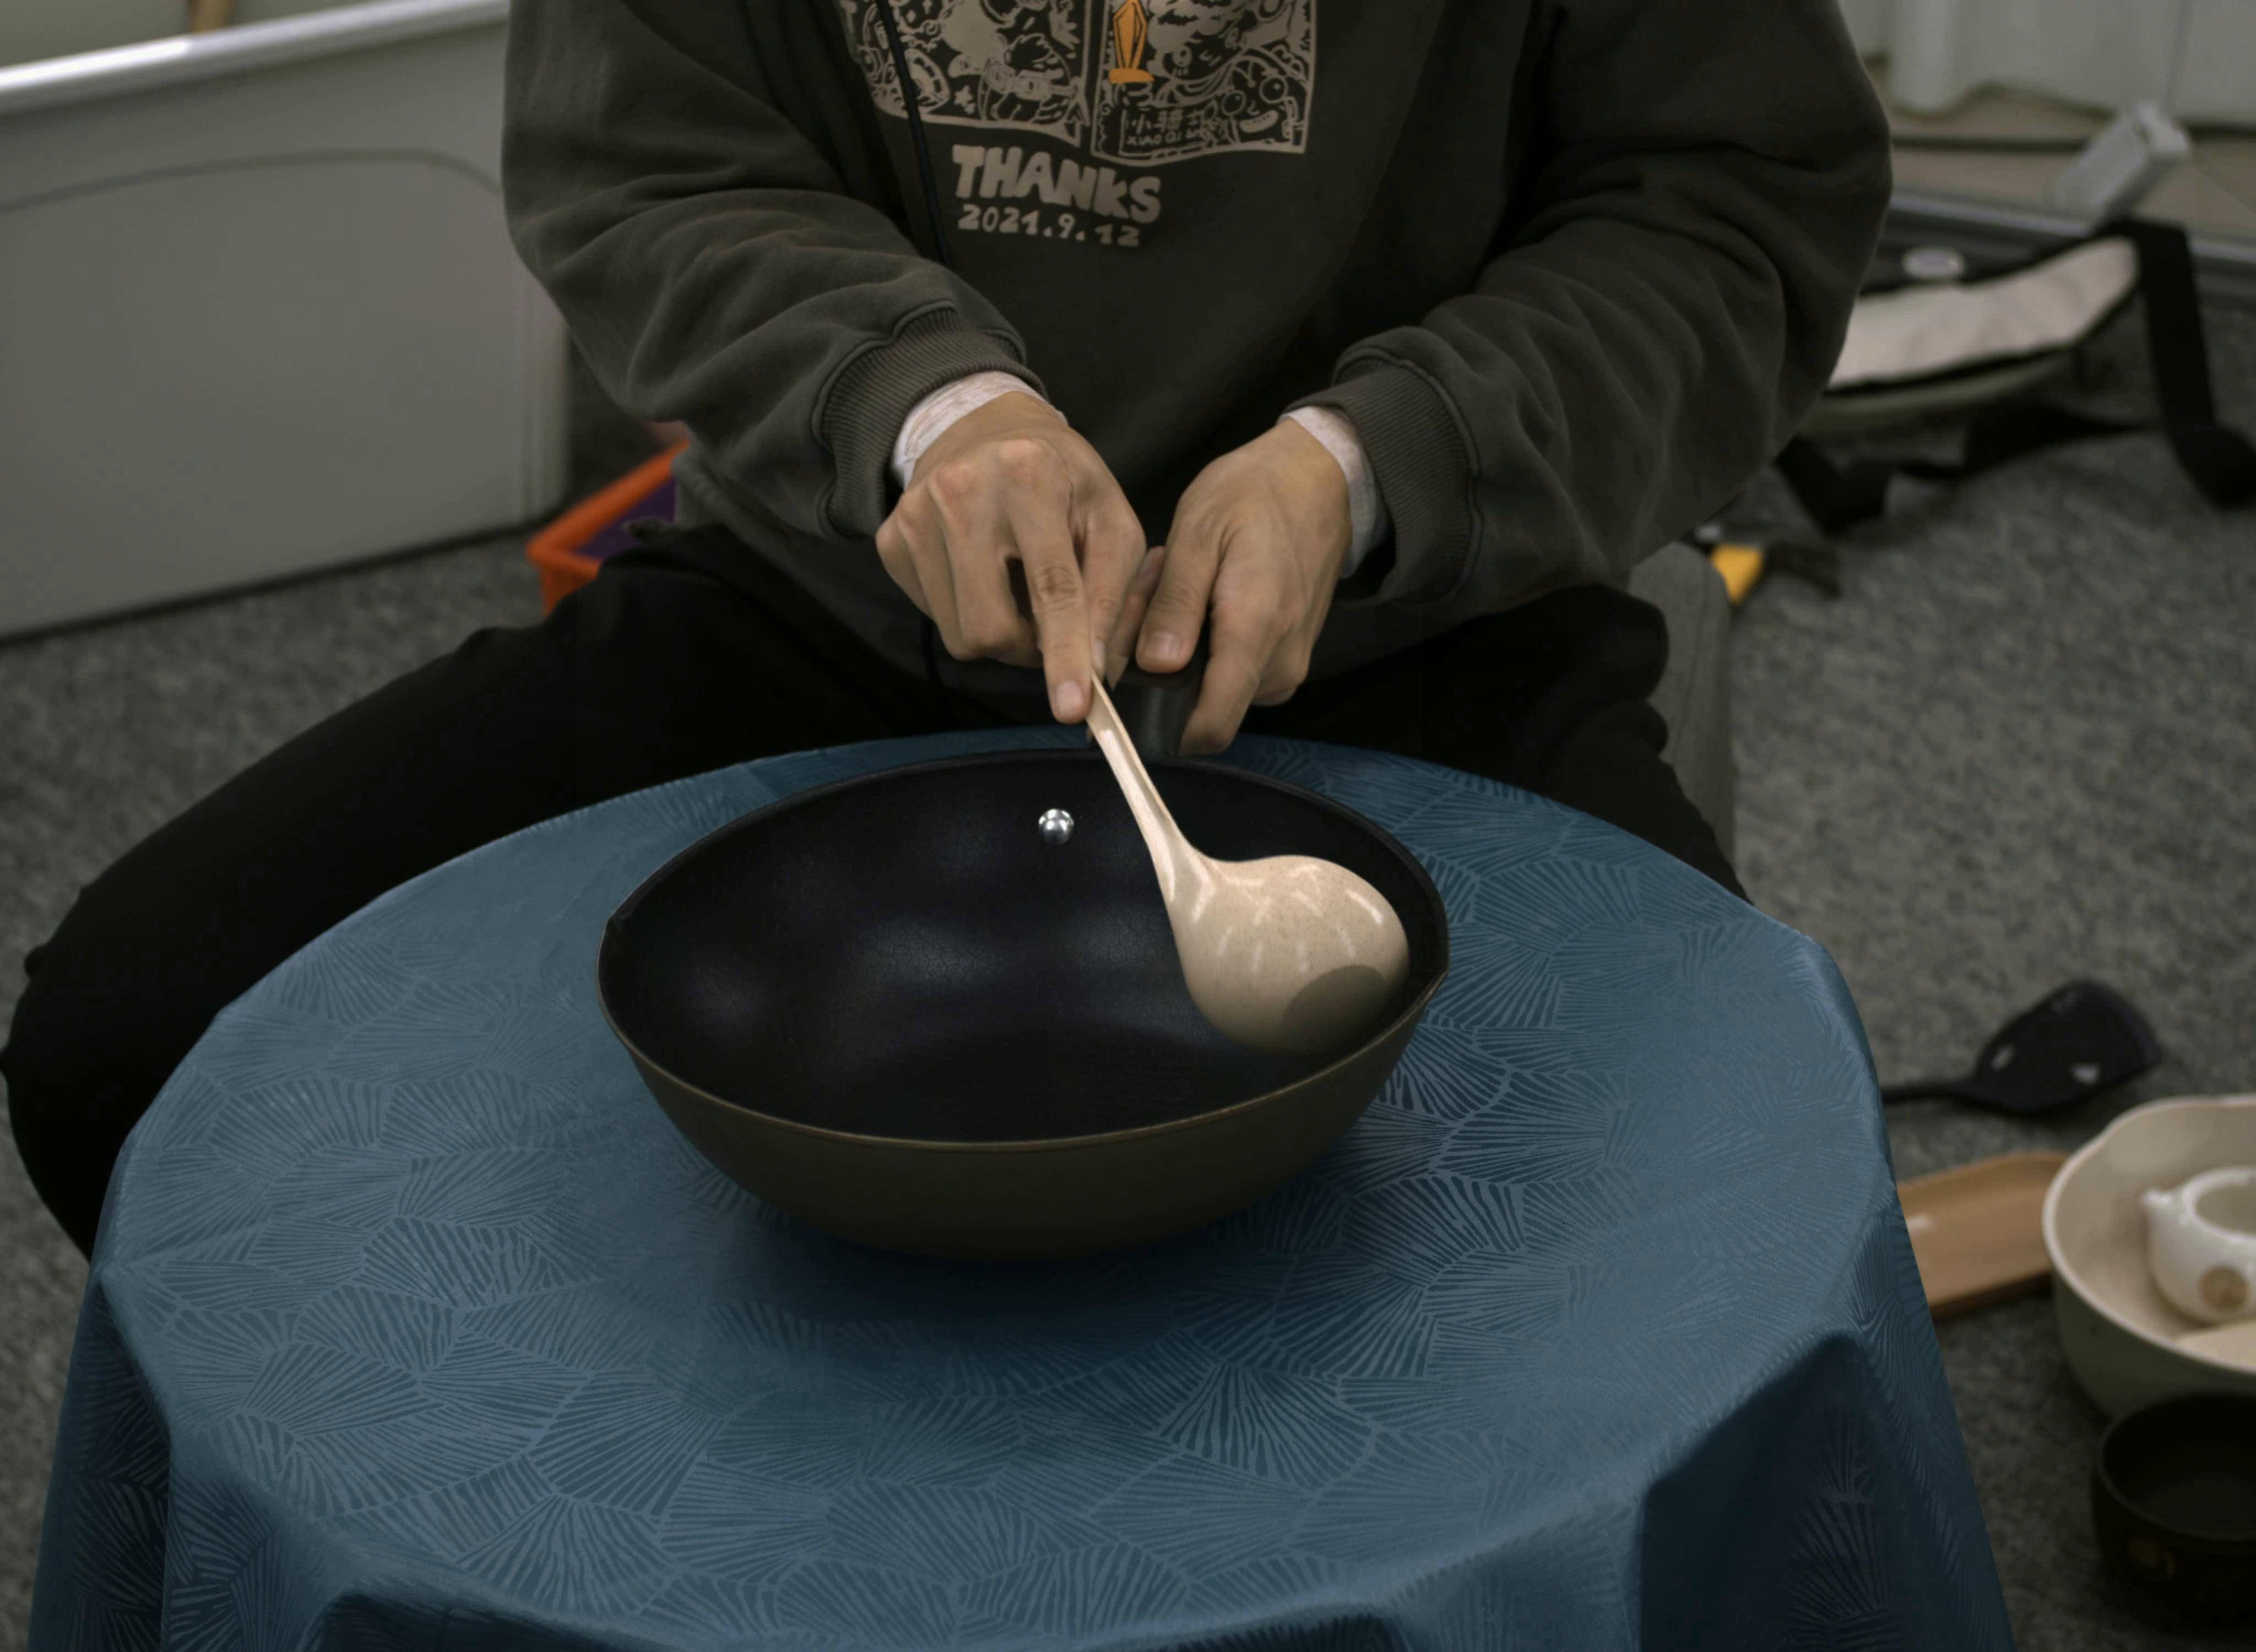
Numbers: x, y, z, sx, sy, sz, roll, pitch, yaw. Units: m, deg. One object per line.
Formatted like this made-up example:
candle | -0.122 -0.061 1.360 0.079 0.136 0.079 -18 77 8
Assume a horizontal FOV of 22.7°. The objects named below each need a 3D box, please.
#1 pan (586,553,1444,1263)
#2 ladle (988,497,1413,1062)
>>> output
pan | -0.015 0.030 1.950 0.286 0.086 0.471 4 26 13
ladle | 0.023 -0.023 1.916 0.073 0.071 0.258 9 37 -32
